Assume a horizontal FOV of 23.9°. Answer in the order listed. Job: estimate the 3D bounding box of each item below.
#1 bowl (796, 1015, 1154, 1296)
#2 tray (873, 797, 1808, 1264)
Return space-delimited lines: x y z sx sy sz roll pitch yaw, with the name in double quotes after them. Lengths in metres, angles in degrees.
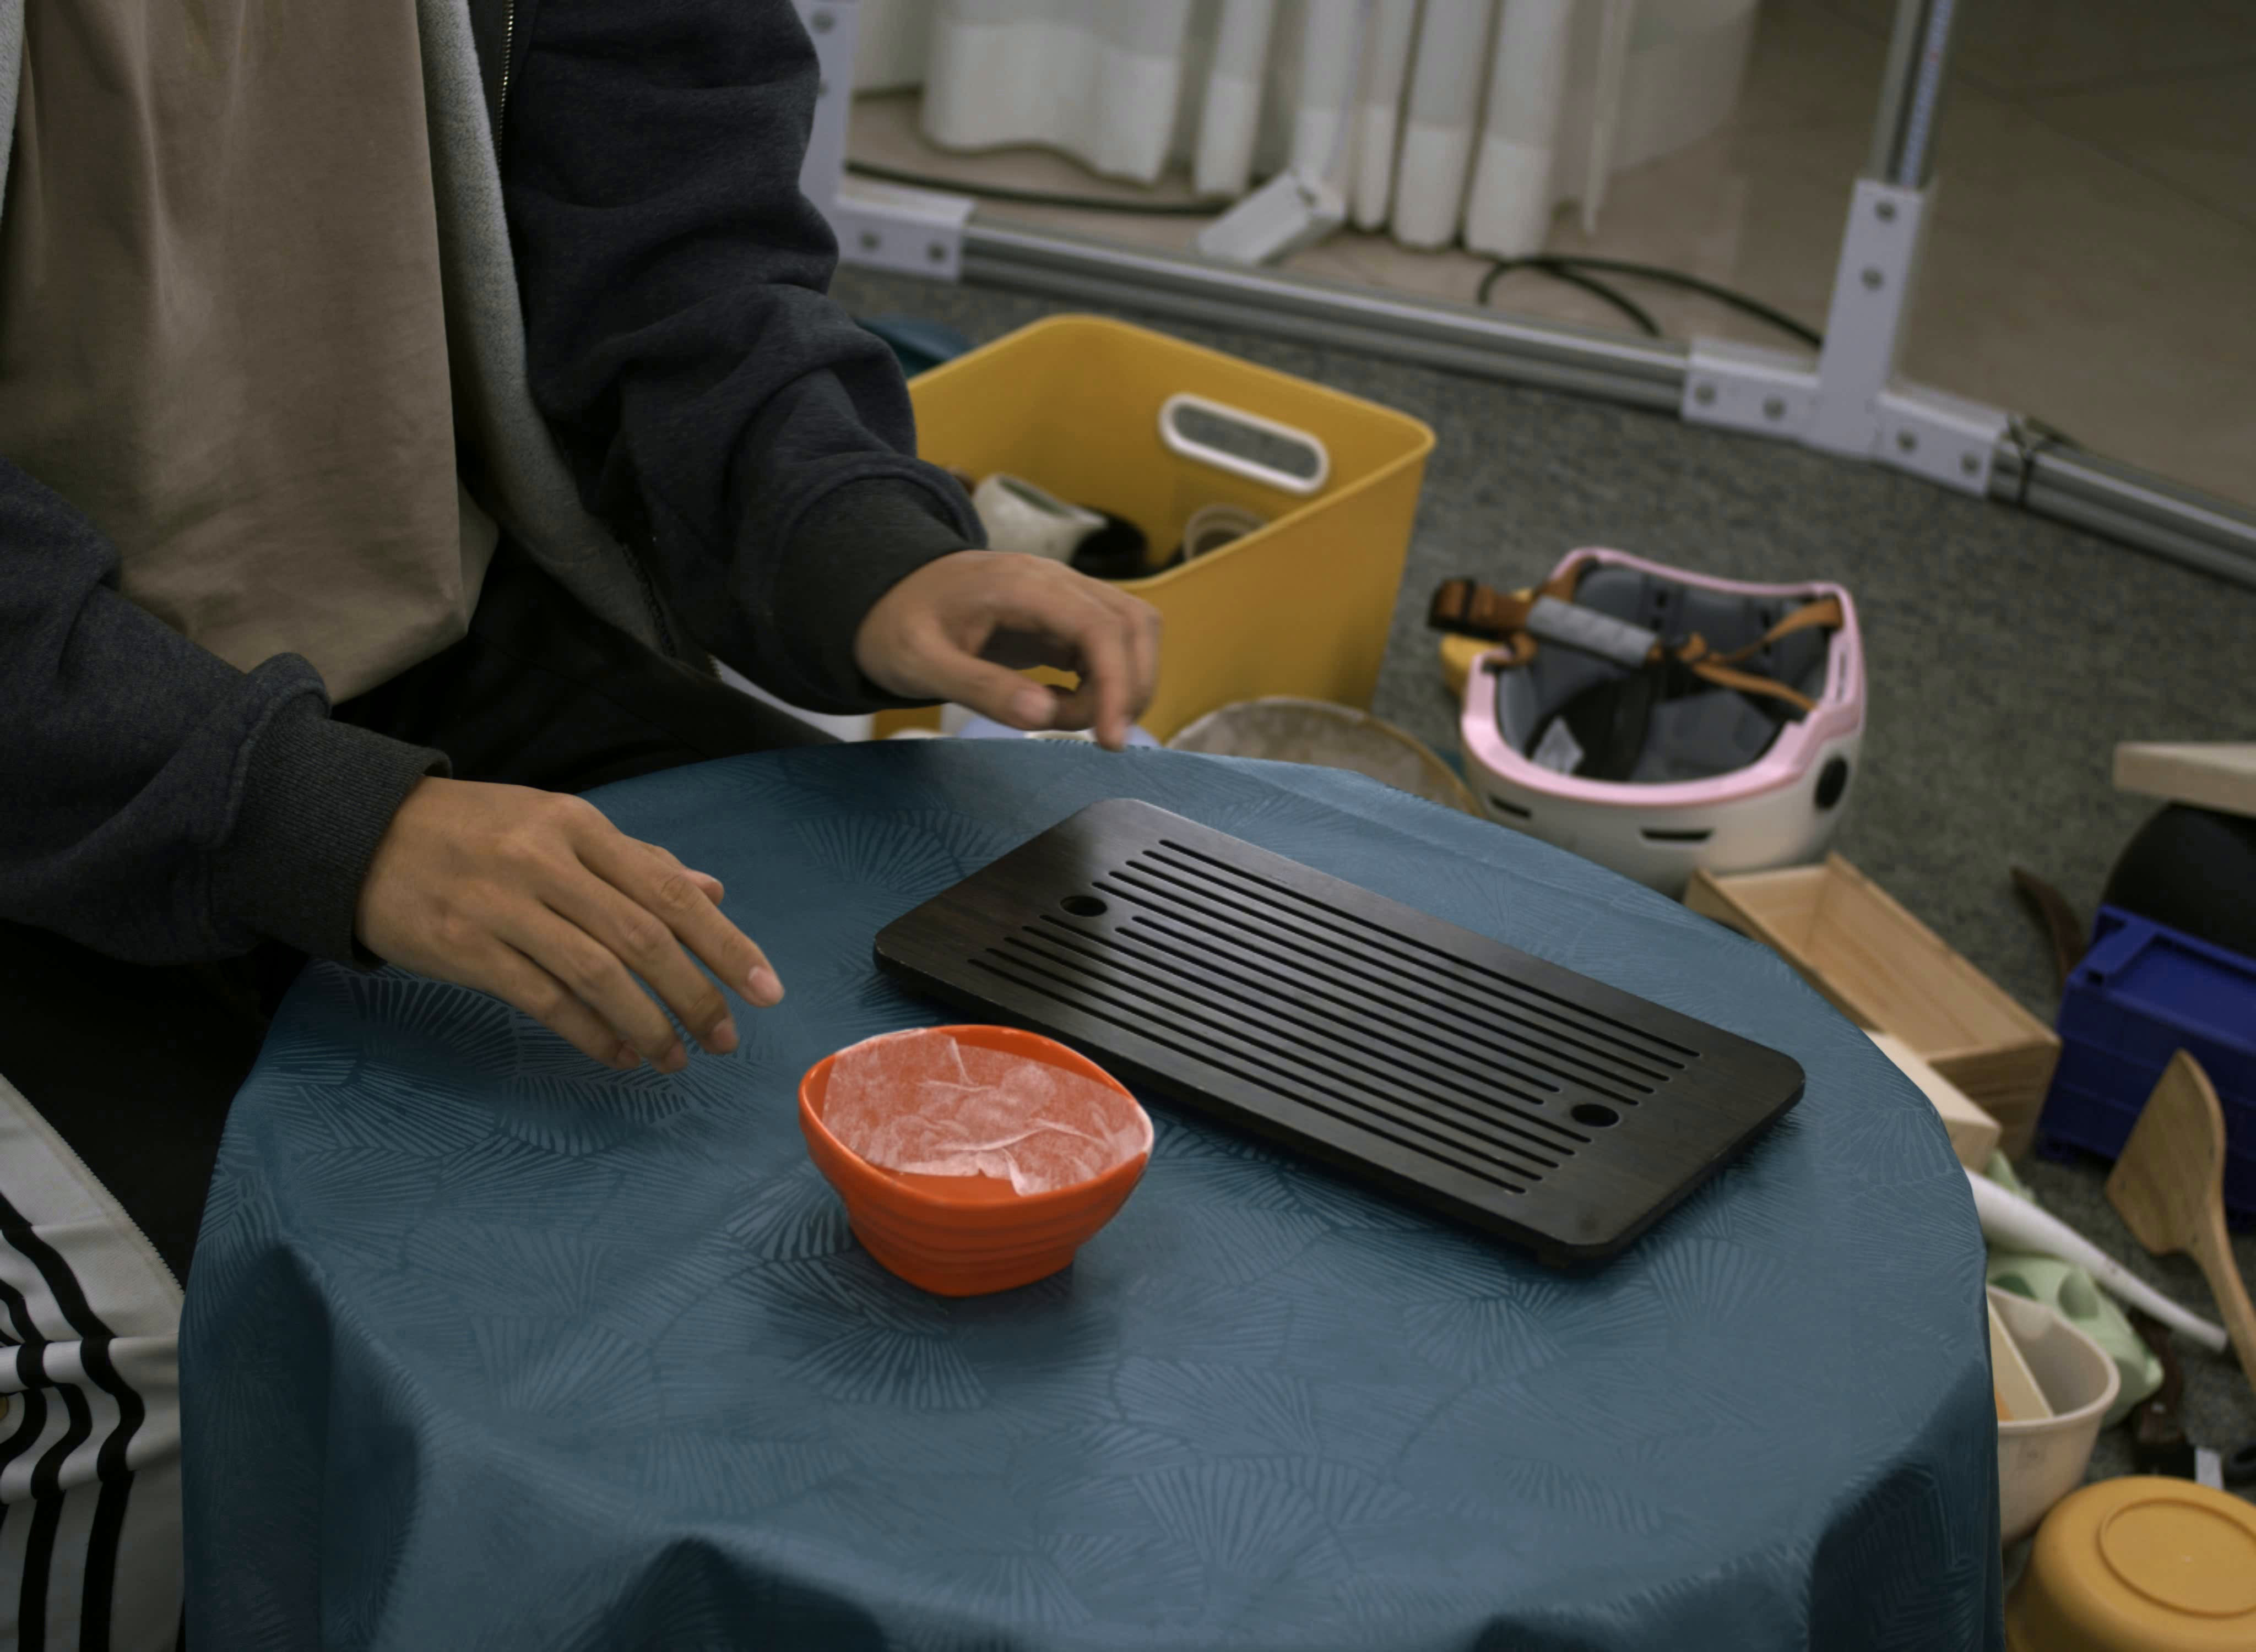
-0.053 0.113 1.751 0.118 0.051 0.119 5 28 -3 "bowl"
0.074 0.070 1.903 0.307 0.018 0.169 21 30 27 "tray"
